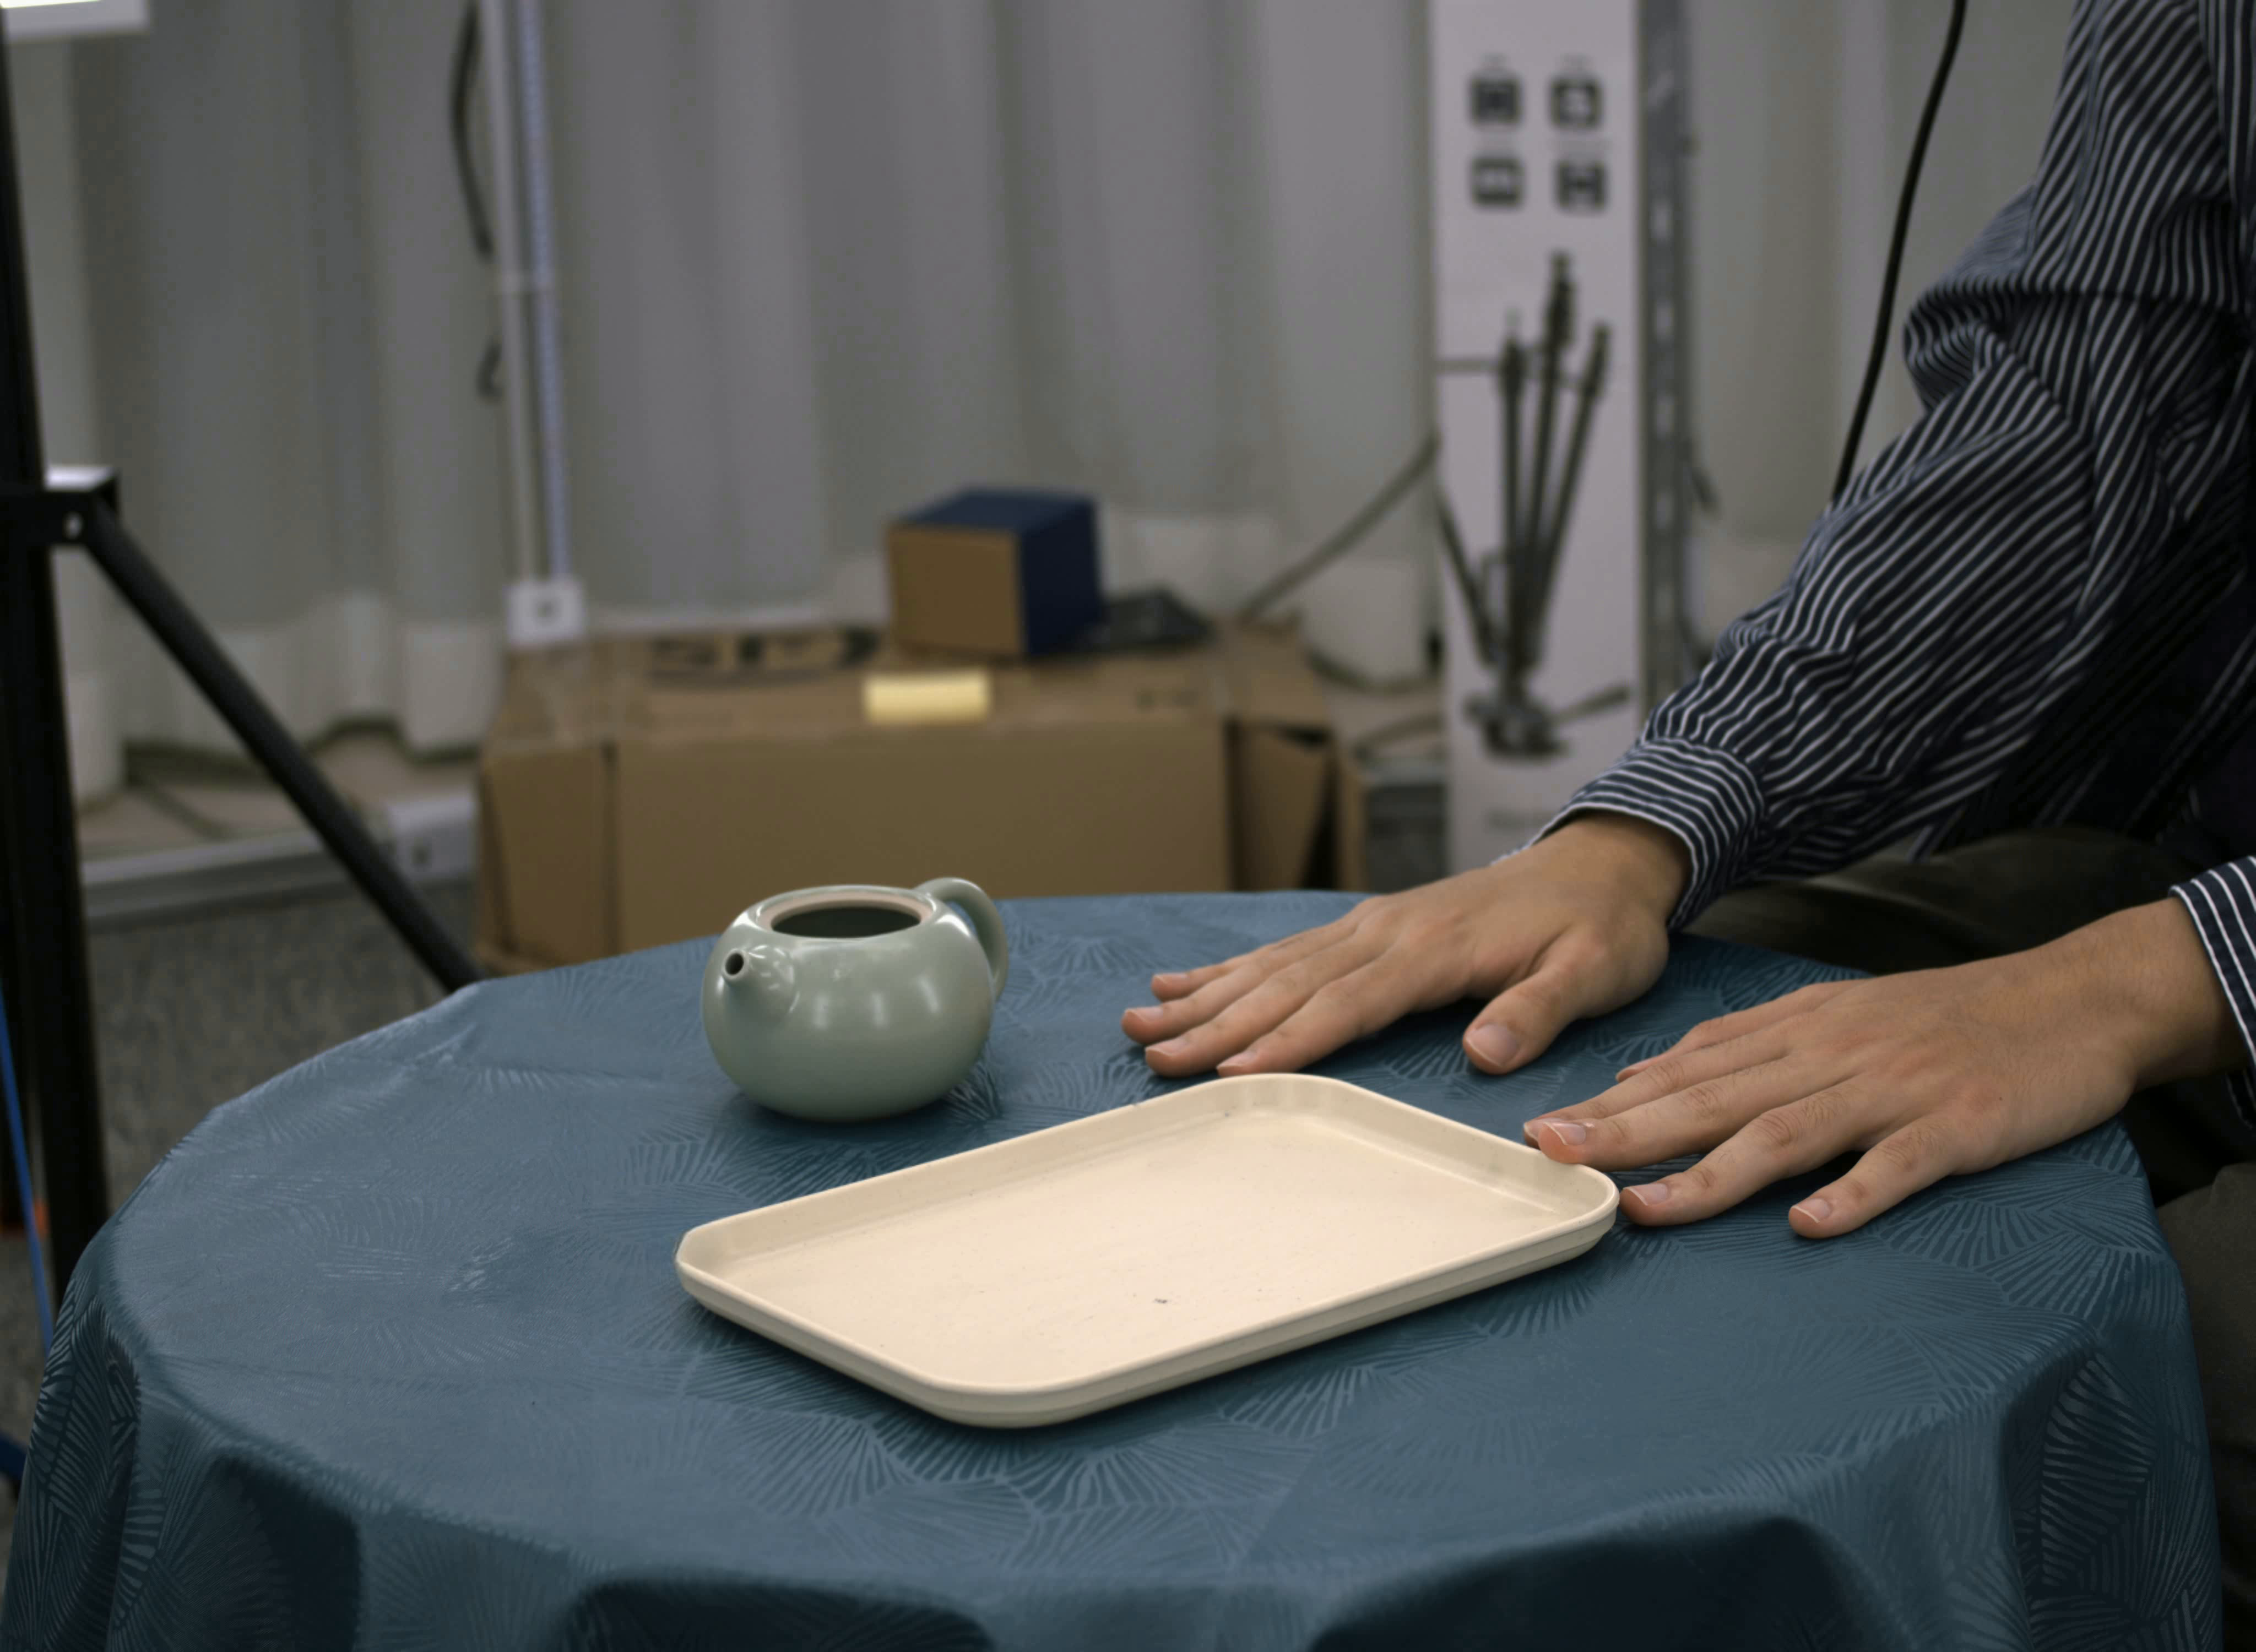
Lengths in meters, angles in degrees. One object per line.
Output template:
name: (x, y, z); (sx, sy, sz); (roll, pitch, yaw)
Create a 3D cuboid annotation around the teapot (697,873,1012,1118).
teapot: (-0.082, 0.052, 1.662); (0.093, 0.061, 0.125); (10, 20, 43)

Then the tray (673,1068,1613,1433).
tray: (0.006, 0.118, 1.495); (0.234, 0.017, 0.175); (-13, 20, -35)
